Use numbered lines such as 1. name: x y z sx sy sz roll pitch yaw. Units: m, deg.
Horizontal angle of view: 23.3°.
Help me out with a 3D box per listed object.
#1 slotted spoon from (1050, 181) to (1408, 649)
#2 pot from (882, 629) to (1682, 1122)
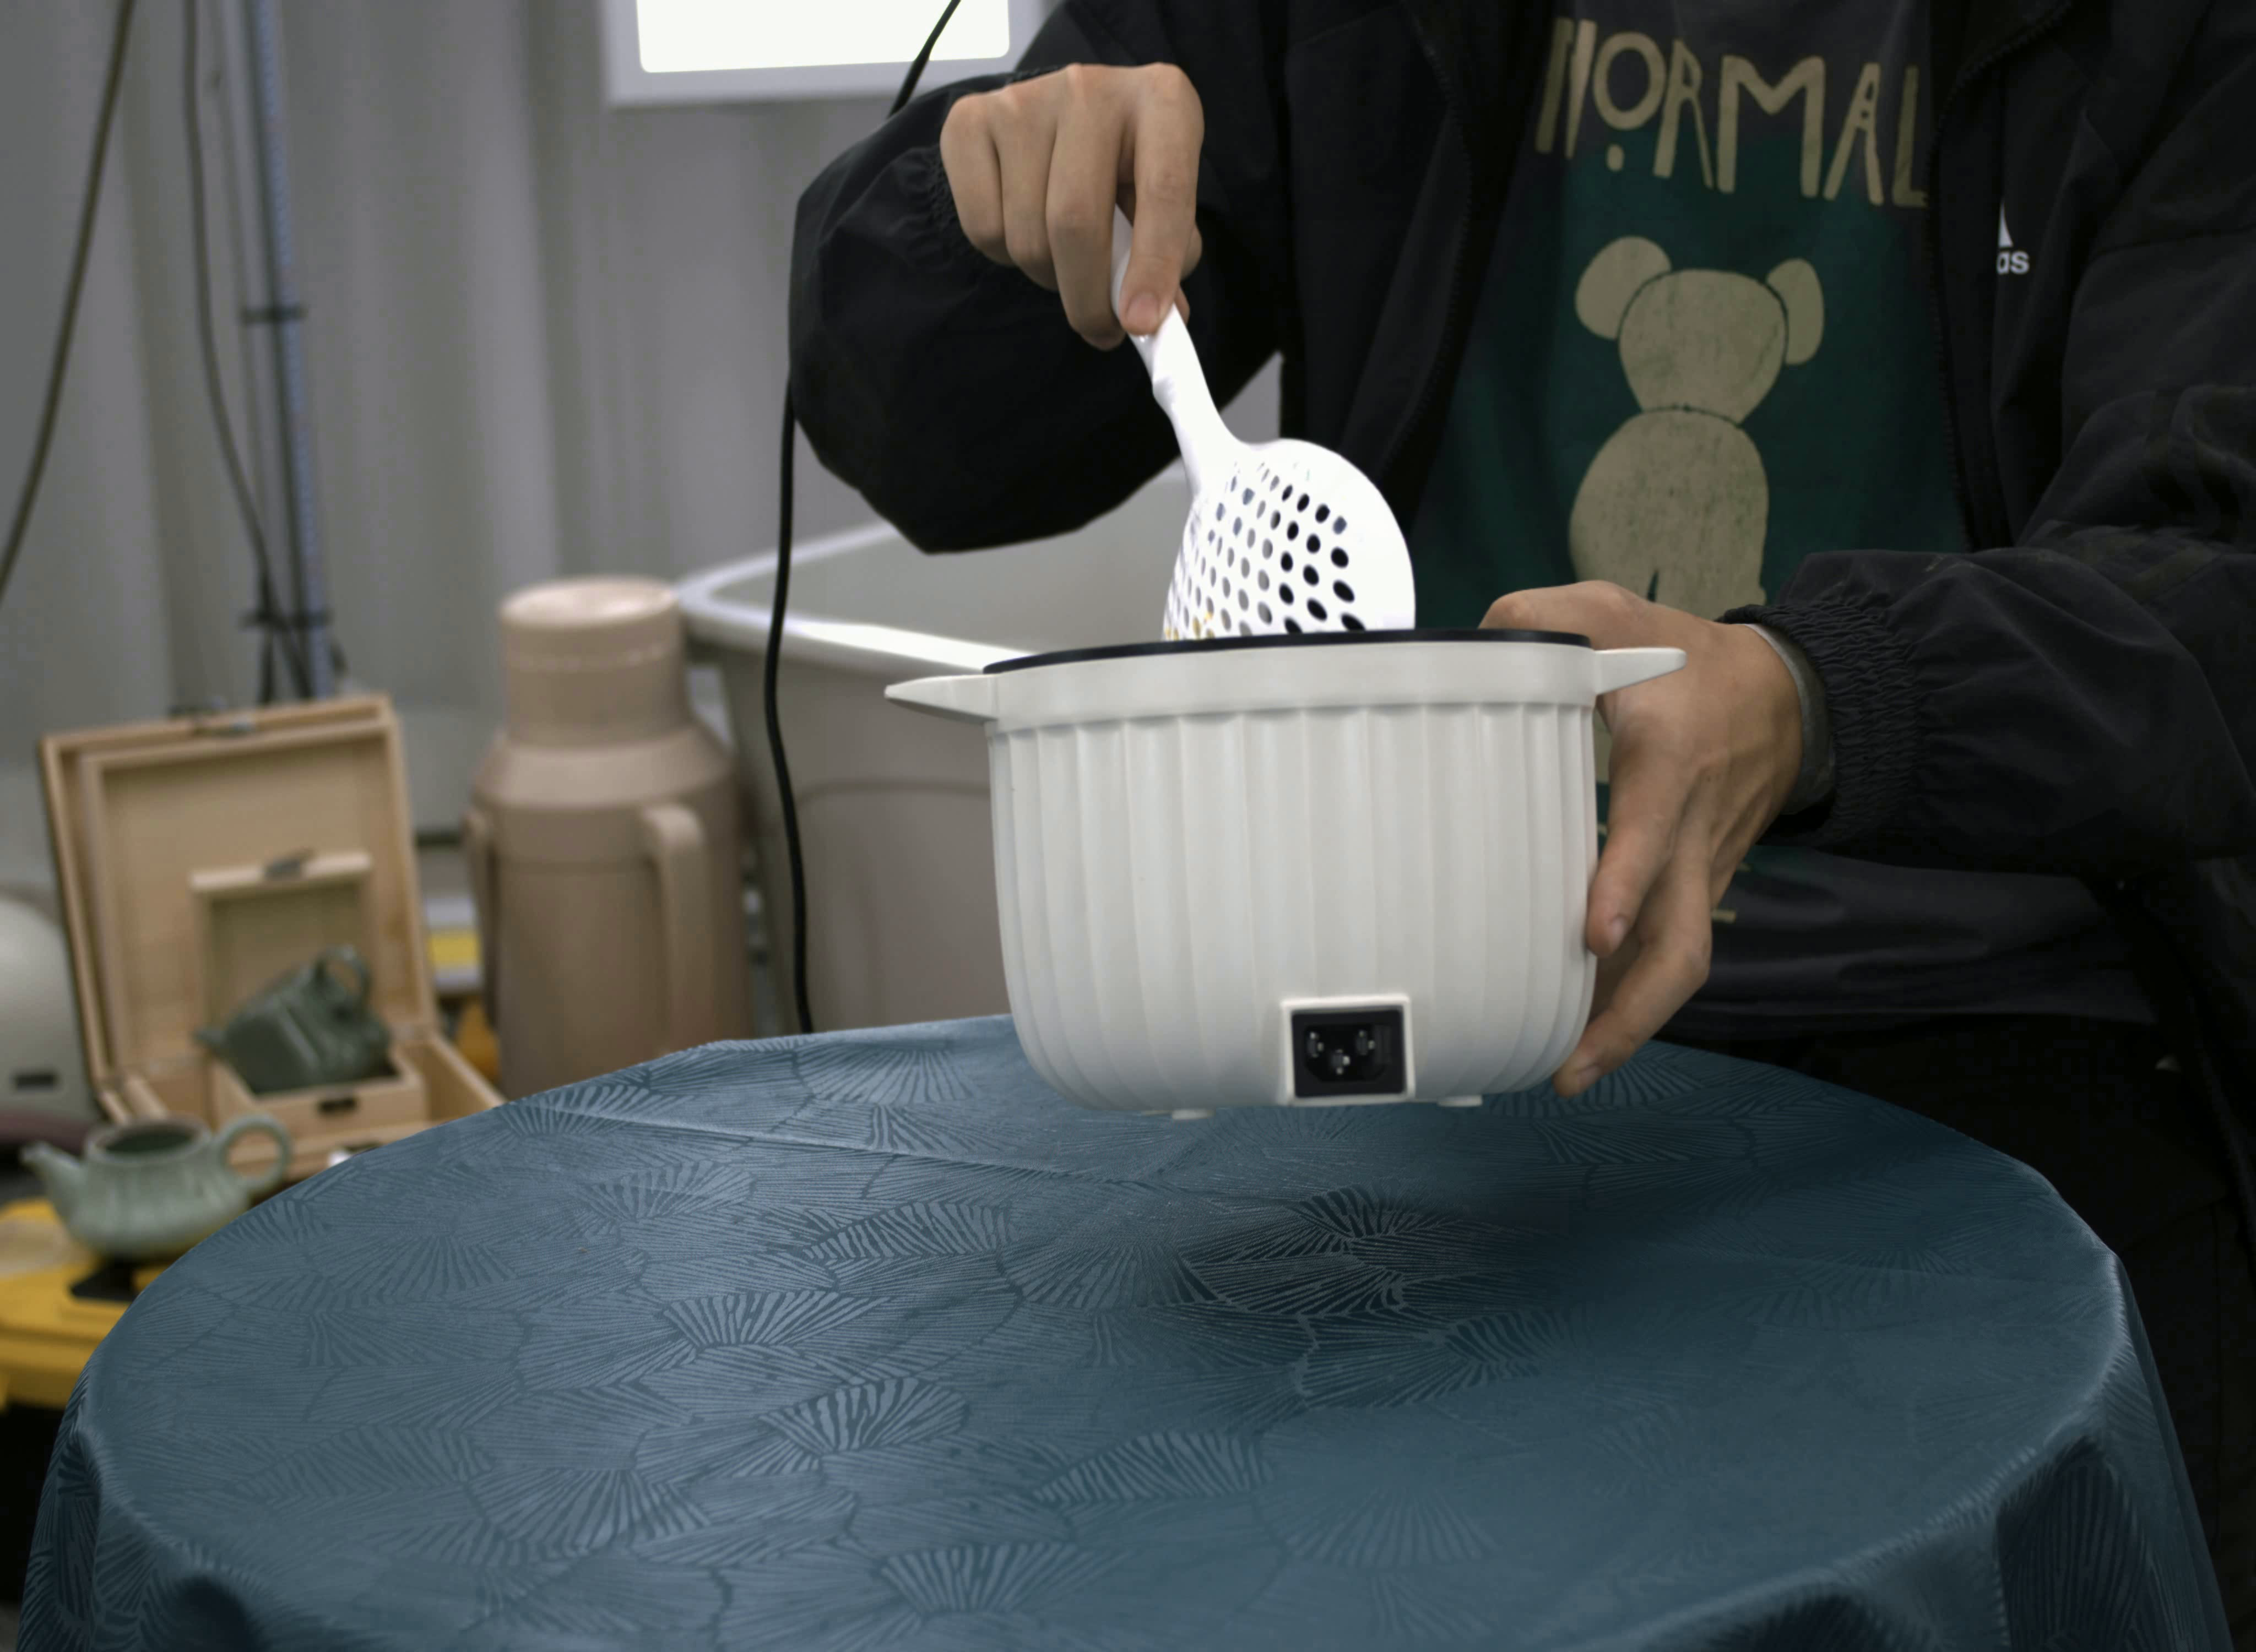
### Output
1. slotted spoon: 0.019 -0.108 1.711 0.050 0.136 0.353 11 30 -16
2. pot: 0.047 0.015 1.622 0.239 0.143 0.191 -1 1 -7
